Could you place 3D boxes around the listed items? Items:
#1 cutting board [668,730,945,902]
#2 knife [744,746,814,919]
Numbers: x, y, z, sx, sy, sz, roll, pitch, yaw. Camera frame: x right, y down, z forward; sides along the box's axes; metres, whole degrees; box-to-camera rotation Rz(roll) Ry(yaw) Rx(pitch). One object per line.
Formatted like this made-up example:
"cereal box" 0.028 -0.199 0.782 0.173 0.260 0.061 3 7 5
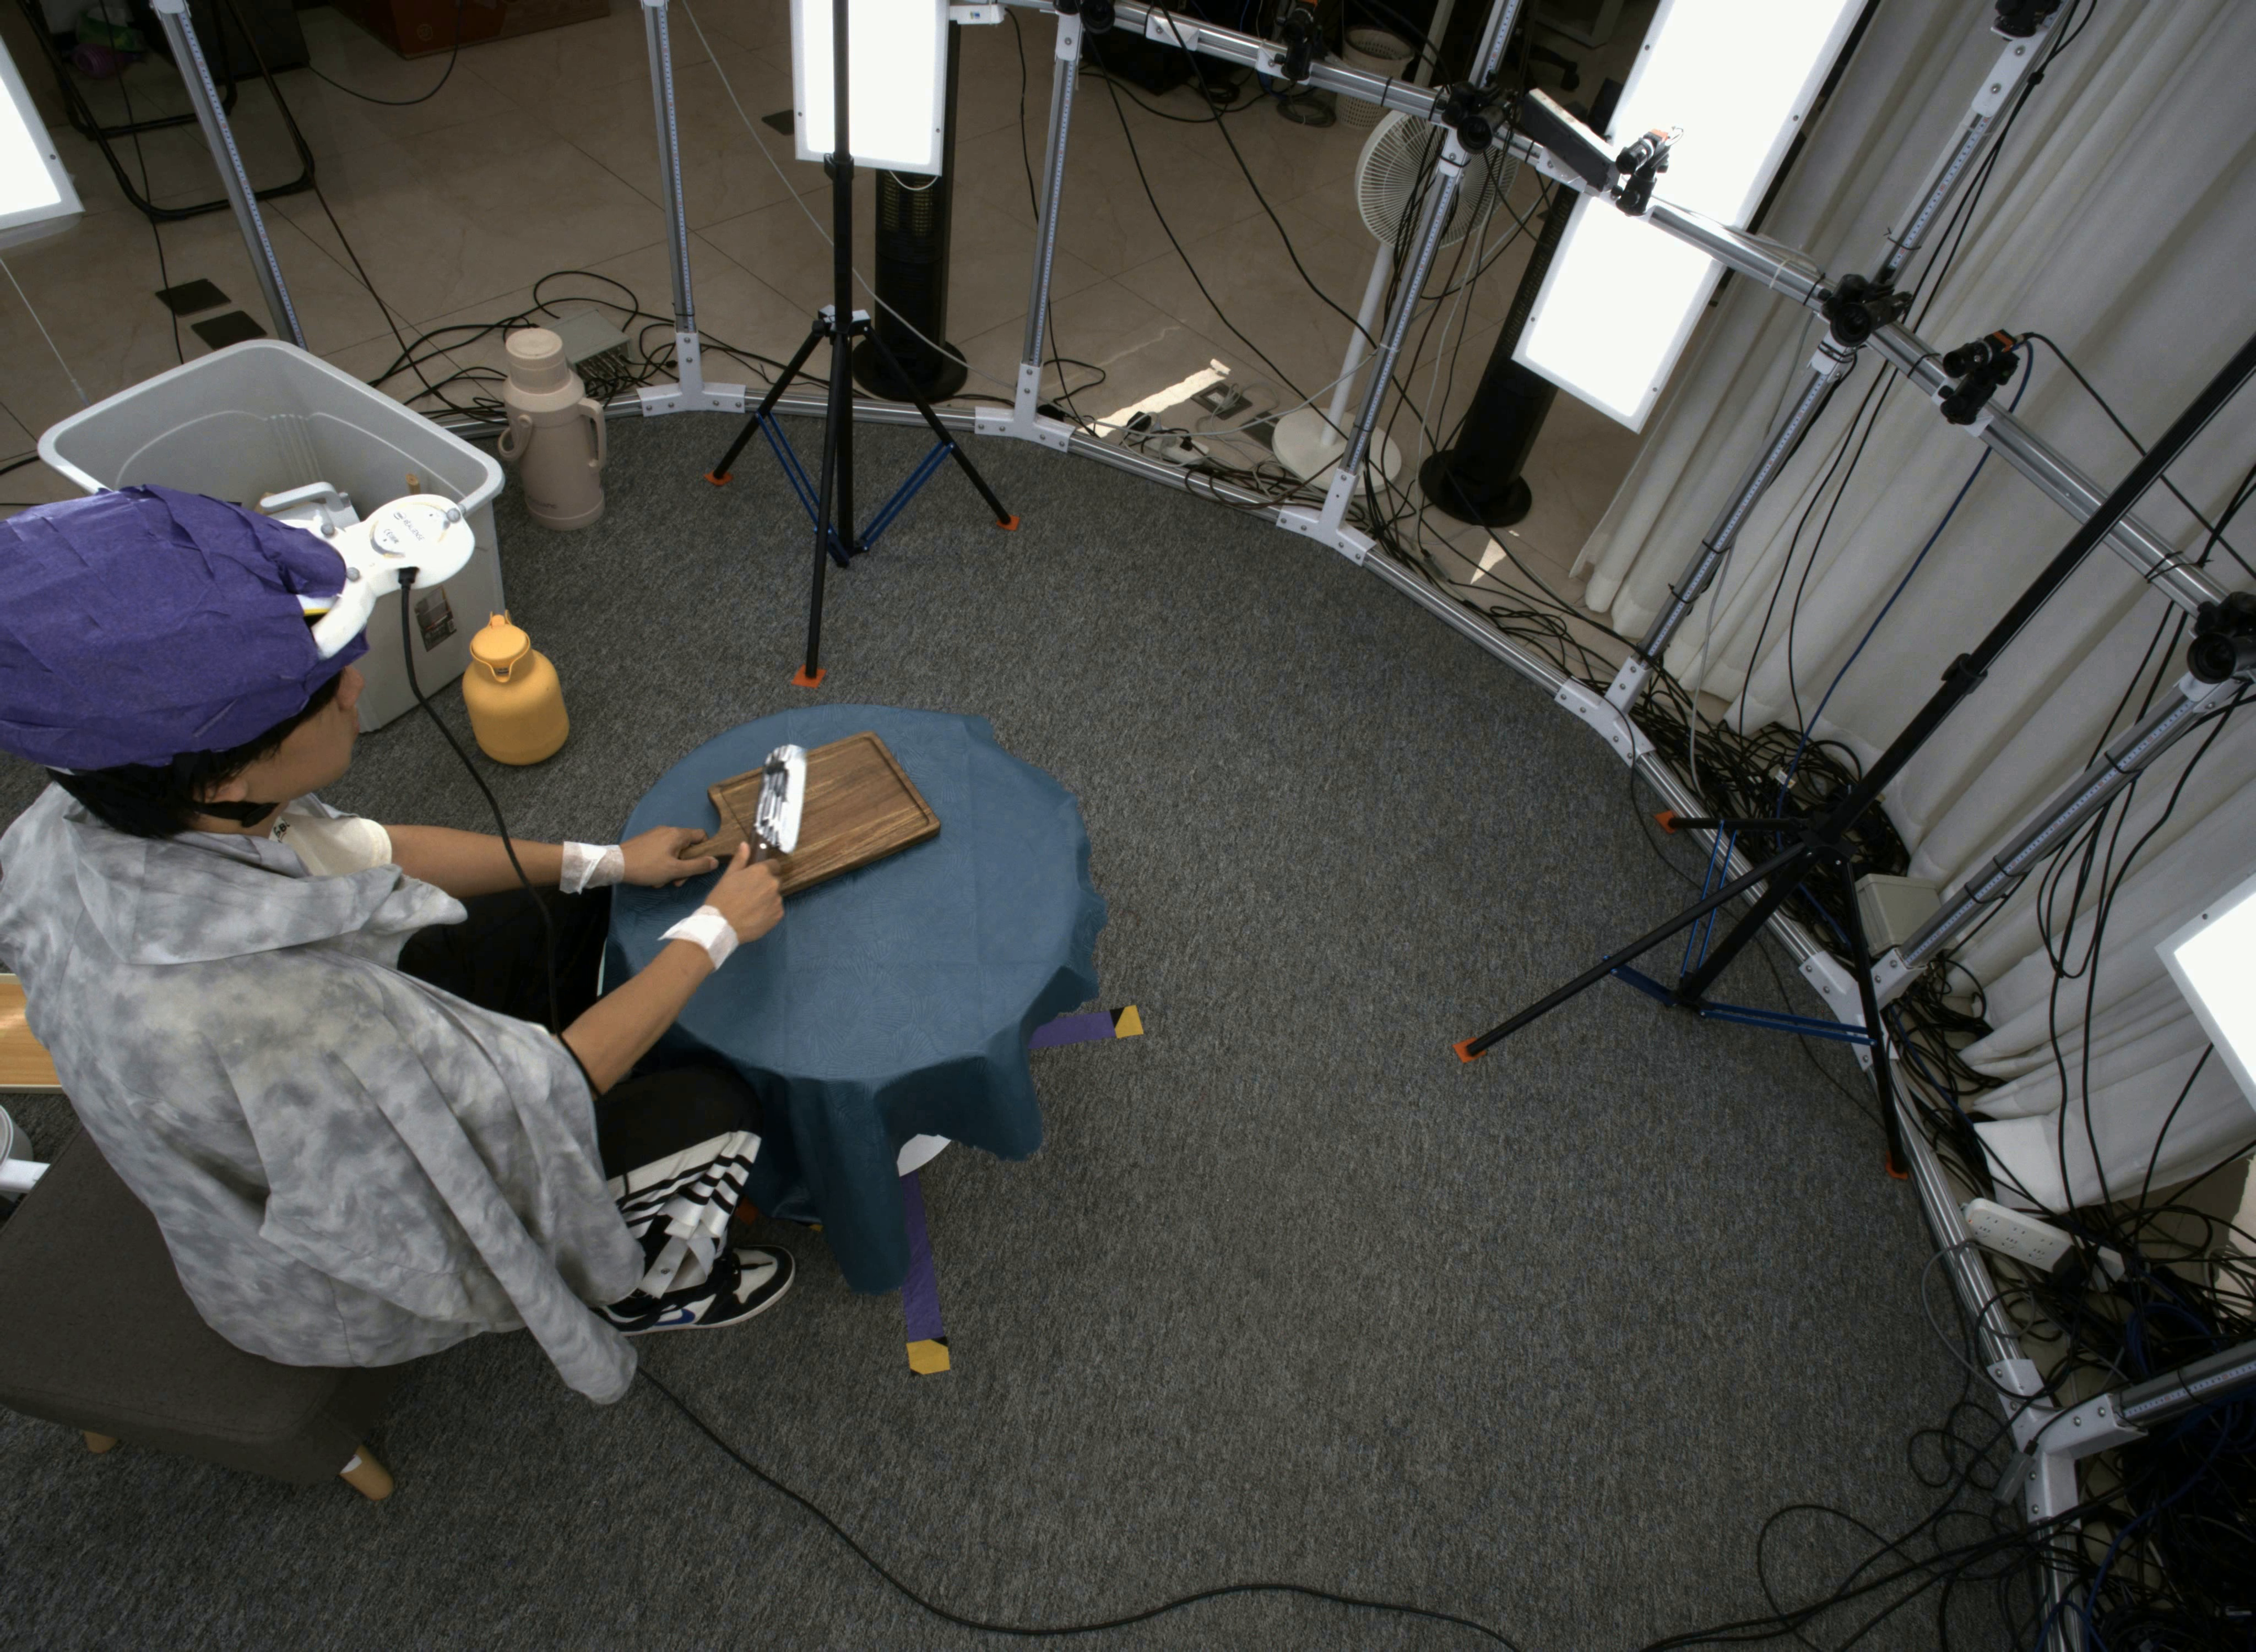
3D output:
"cutting board" -0.437 -0.004 1.702 0.354 0.023 0.196 -24 63 -30
"knife" -0.431 0.002 1.618 0.070 0.023 0.293 40 36 -39
